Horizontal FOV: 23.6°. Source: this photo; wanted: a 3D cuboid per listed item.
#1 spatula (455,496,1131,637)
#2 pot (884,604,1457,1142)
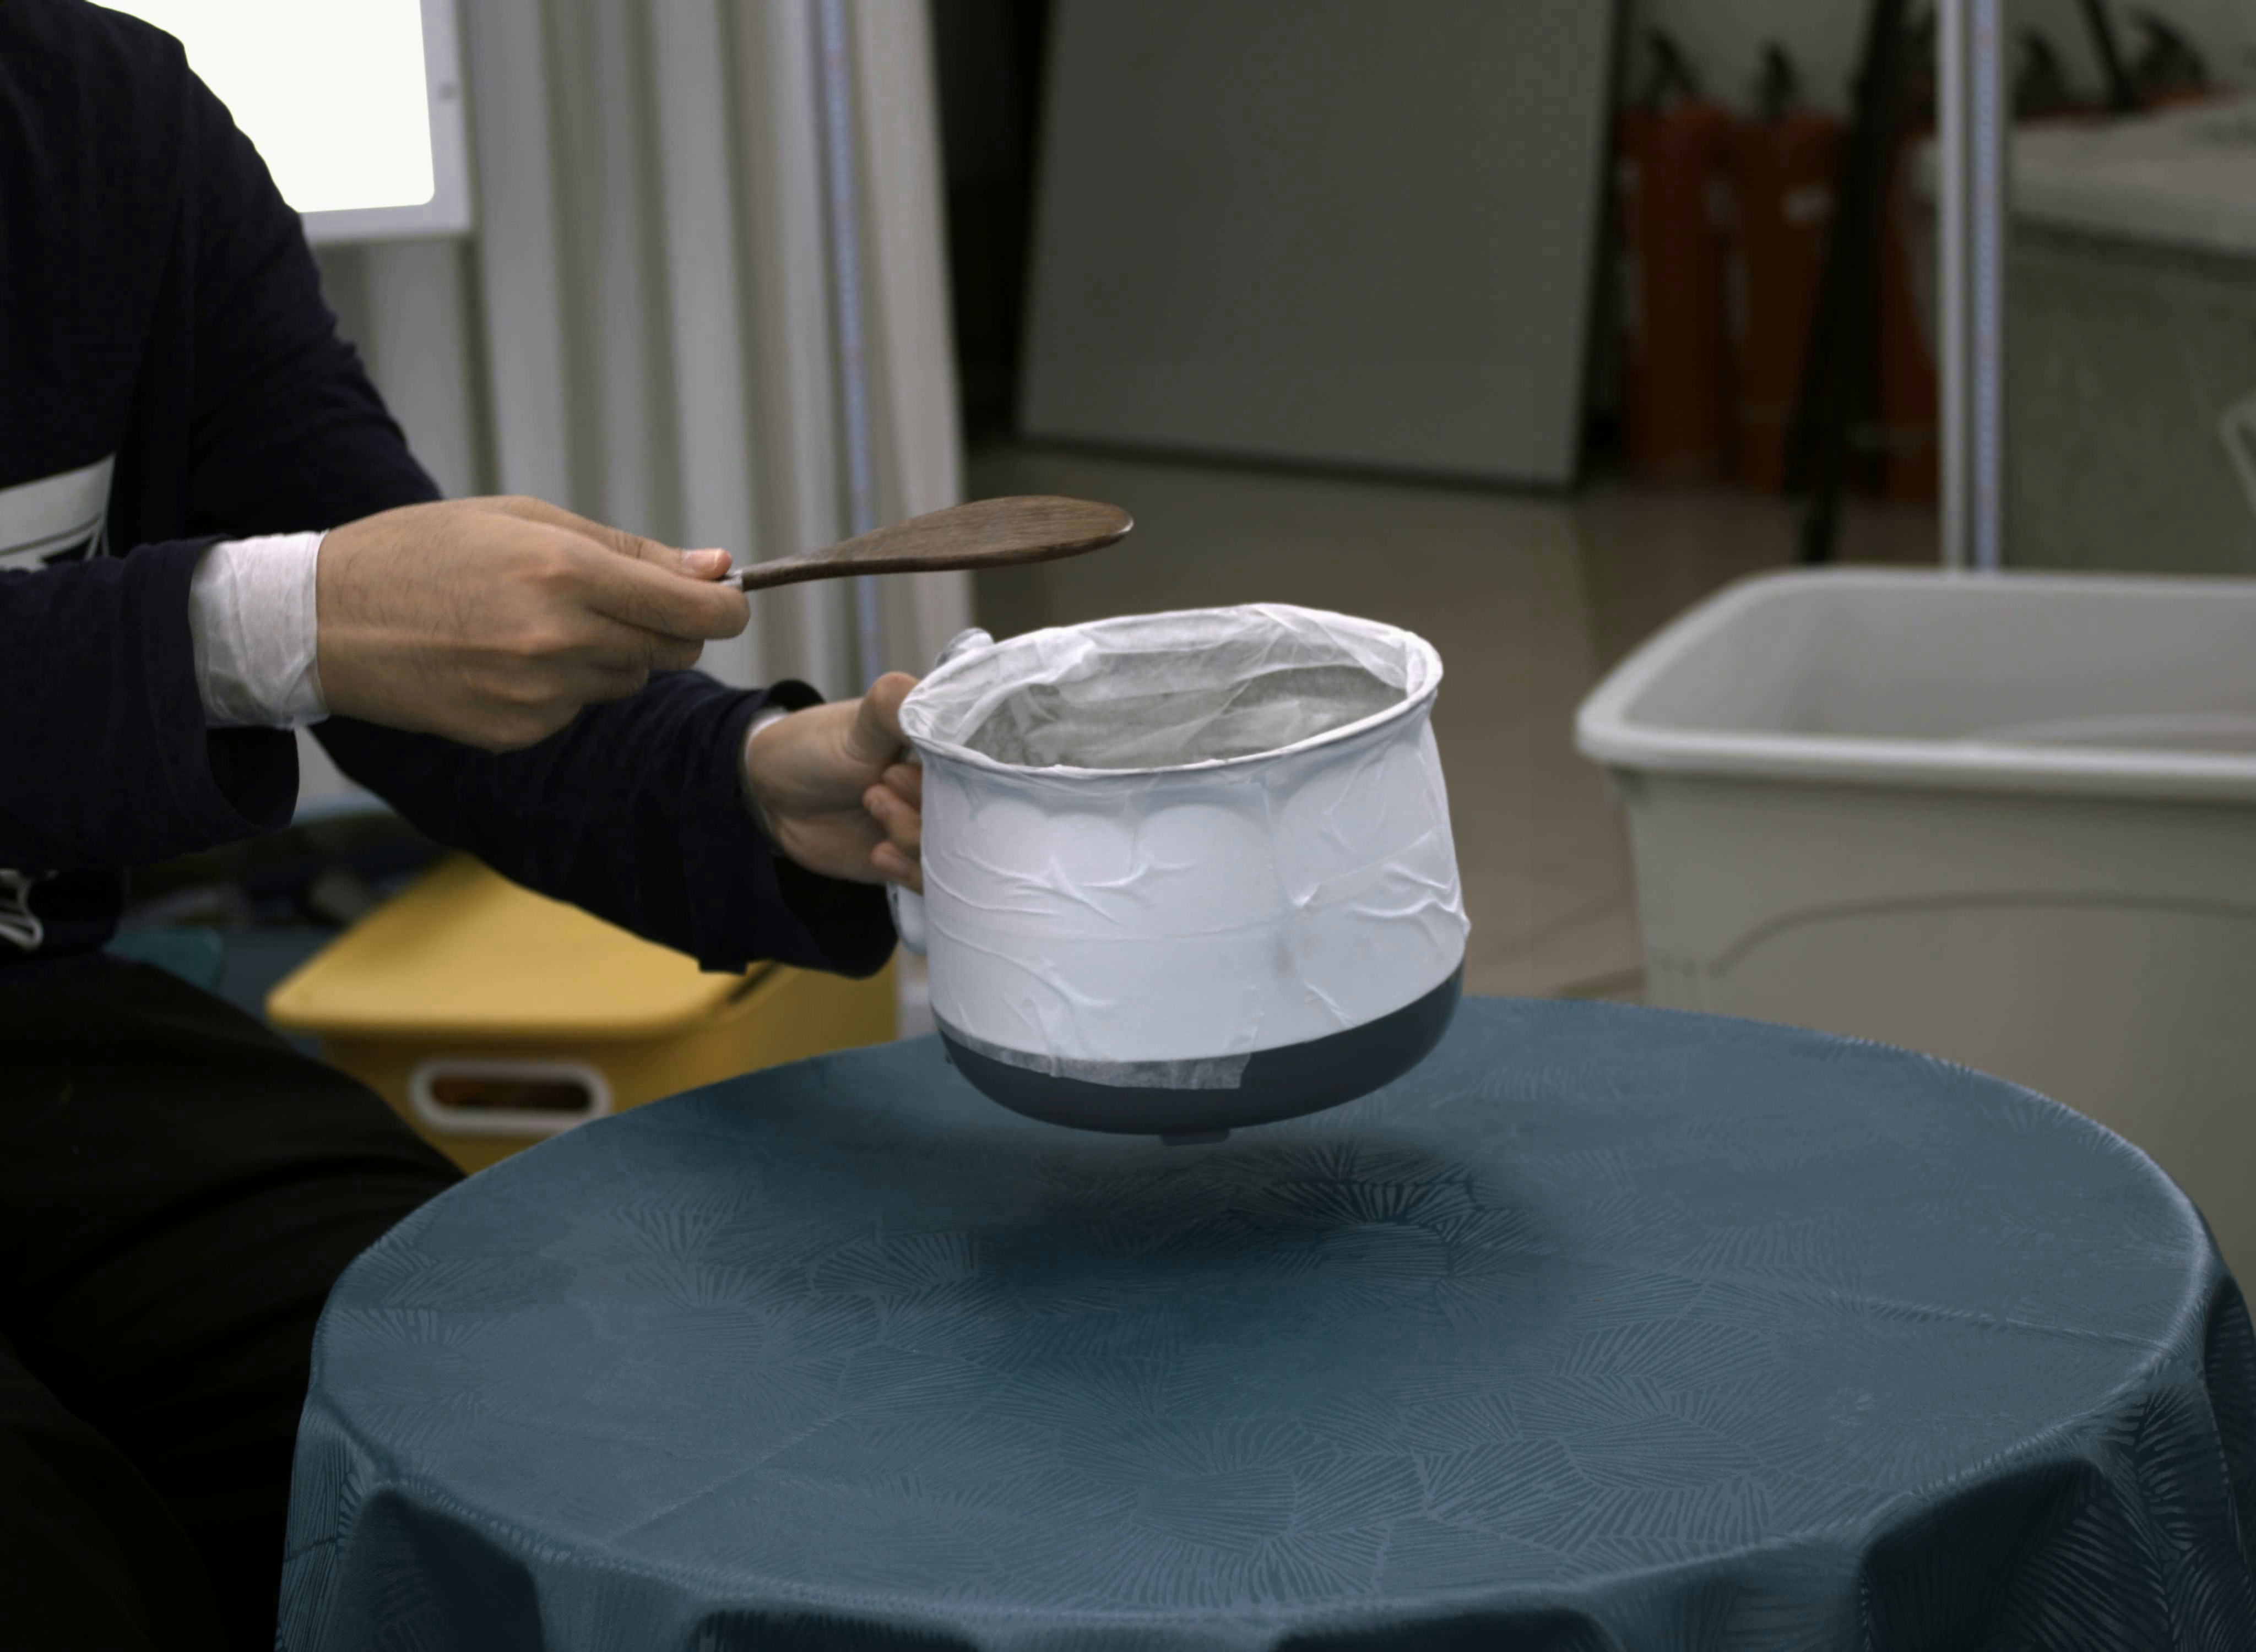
[{"bbox_3d":[-0.104,-0.080,1.686,0.213,0.009,0.072,-11,14,0],"label":"spatula"},{"bbox_3d":[0.000,0.009,1.766,0.175,0.138,0.236,-17,21,-39],"label":"pot"}]
